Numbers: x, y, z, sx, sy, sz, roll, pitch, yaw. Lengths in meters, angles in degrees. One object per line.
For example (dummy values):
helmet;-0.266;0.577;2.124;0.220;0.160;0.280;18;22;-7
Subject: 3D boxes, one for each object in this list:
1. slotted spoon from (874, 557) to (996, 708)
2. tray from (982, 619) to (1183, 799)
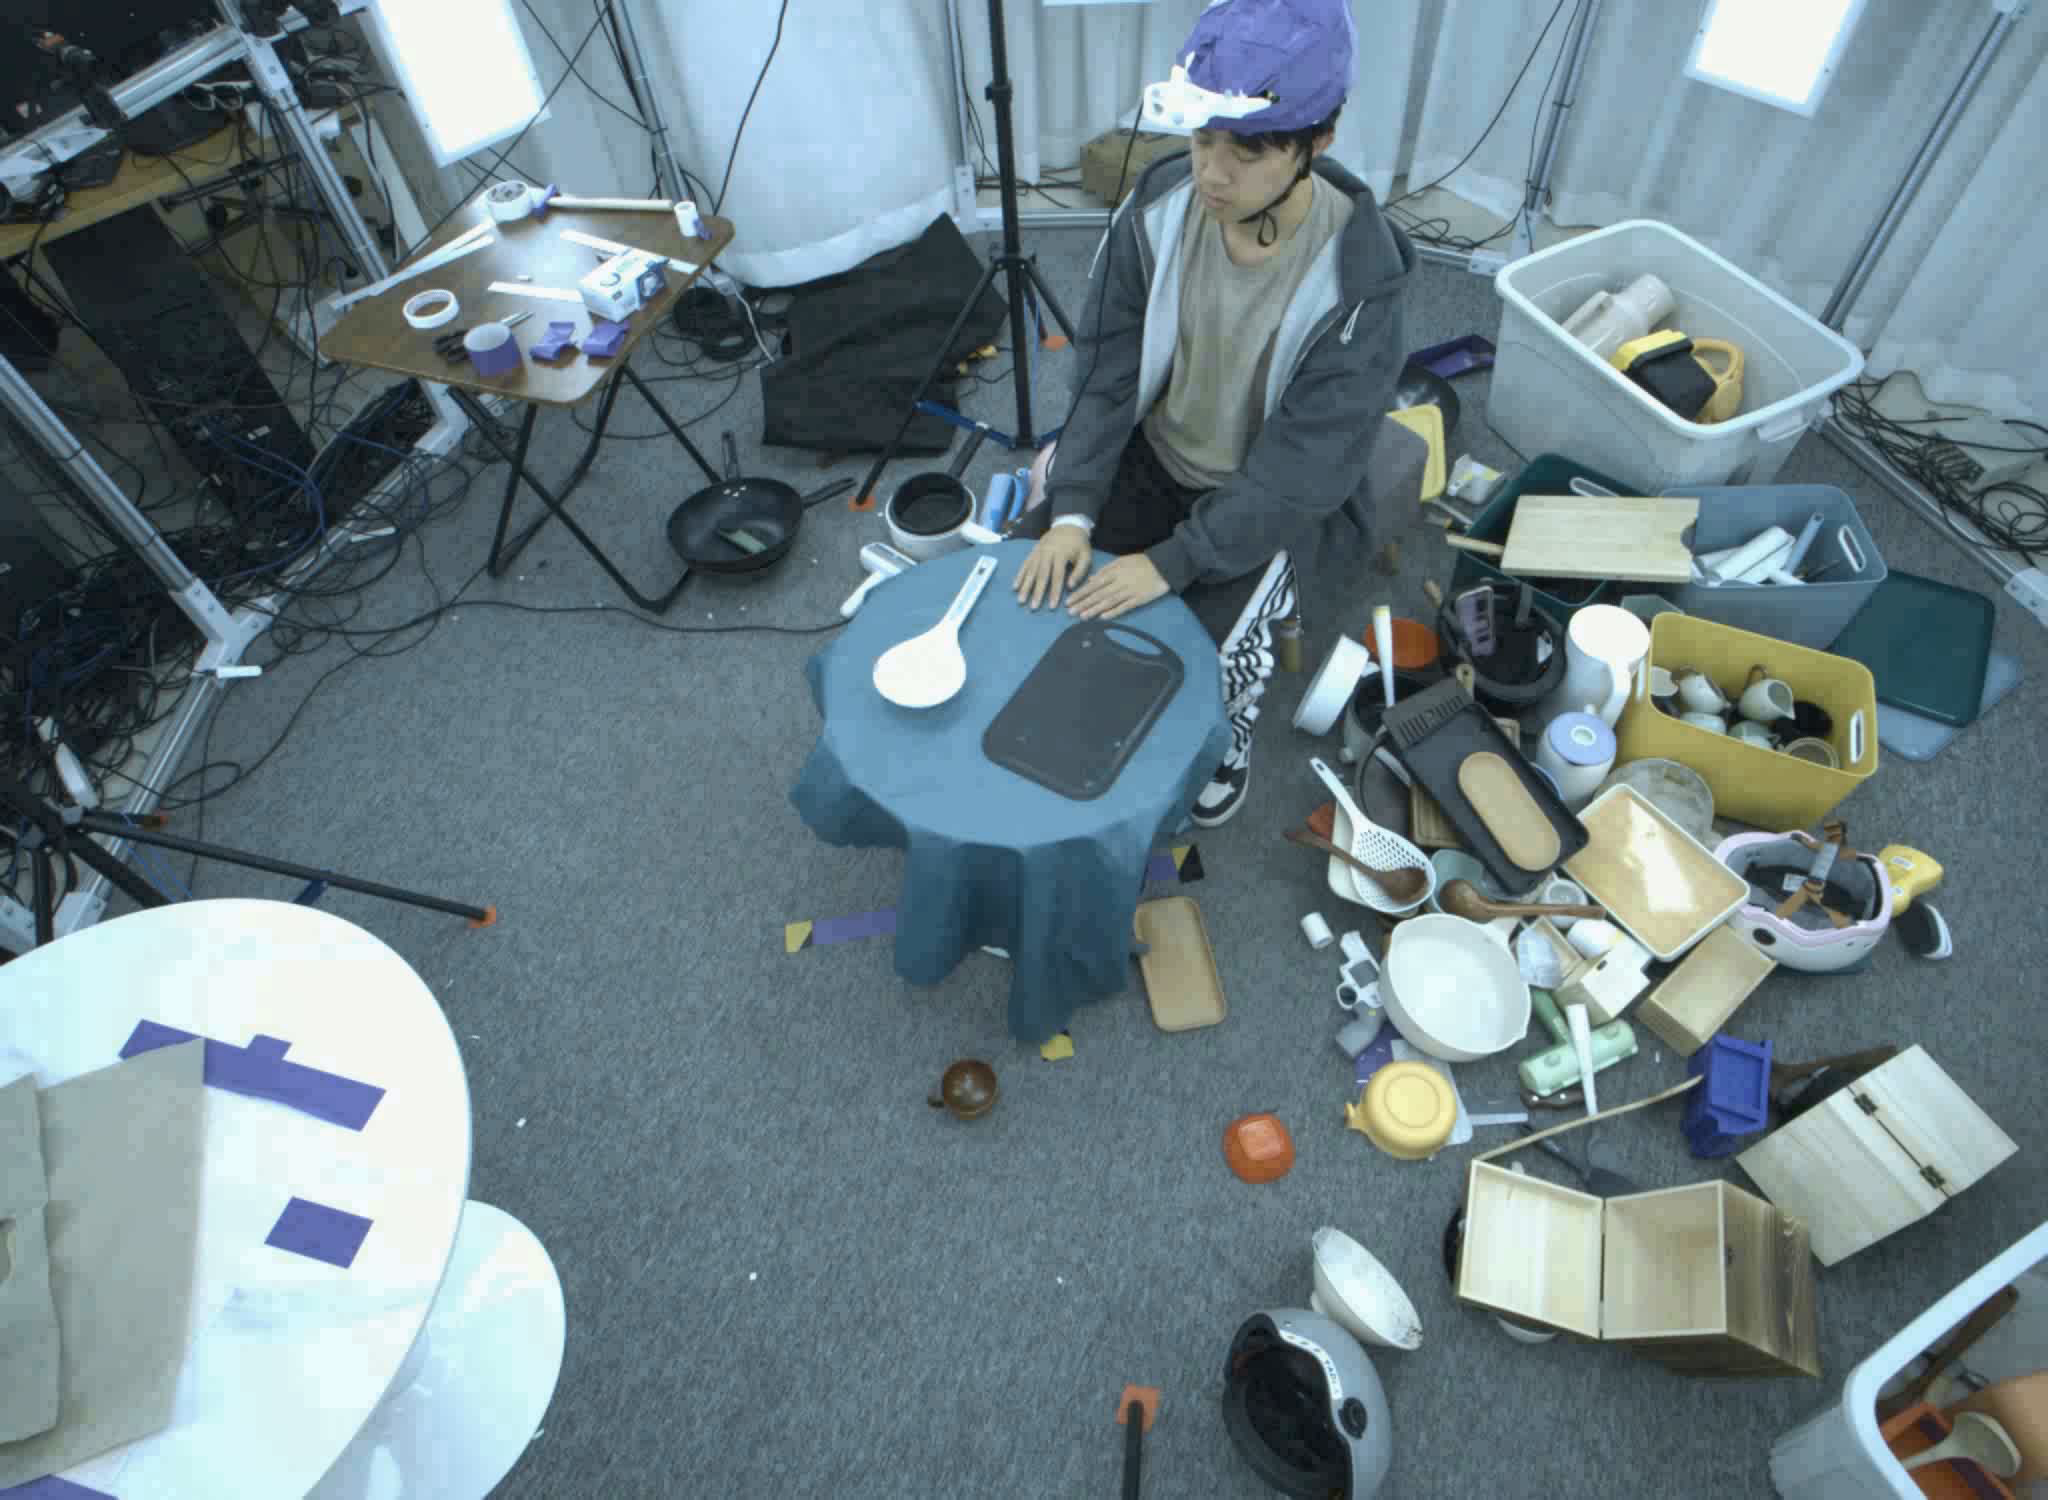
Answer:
slotted spoon;-0.119;-0.187;1.899;0.135;0.046;0.349;17;56;11
tray;0.093;-0.074;1.836;0.208;0.010;0.326;26;60;19
